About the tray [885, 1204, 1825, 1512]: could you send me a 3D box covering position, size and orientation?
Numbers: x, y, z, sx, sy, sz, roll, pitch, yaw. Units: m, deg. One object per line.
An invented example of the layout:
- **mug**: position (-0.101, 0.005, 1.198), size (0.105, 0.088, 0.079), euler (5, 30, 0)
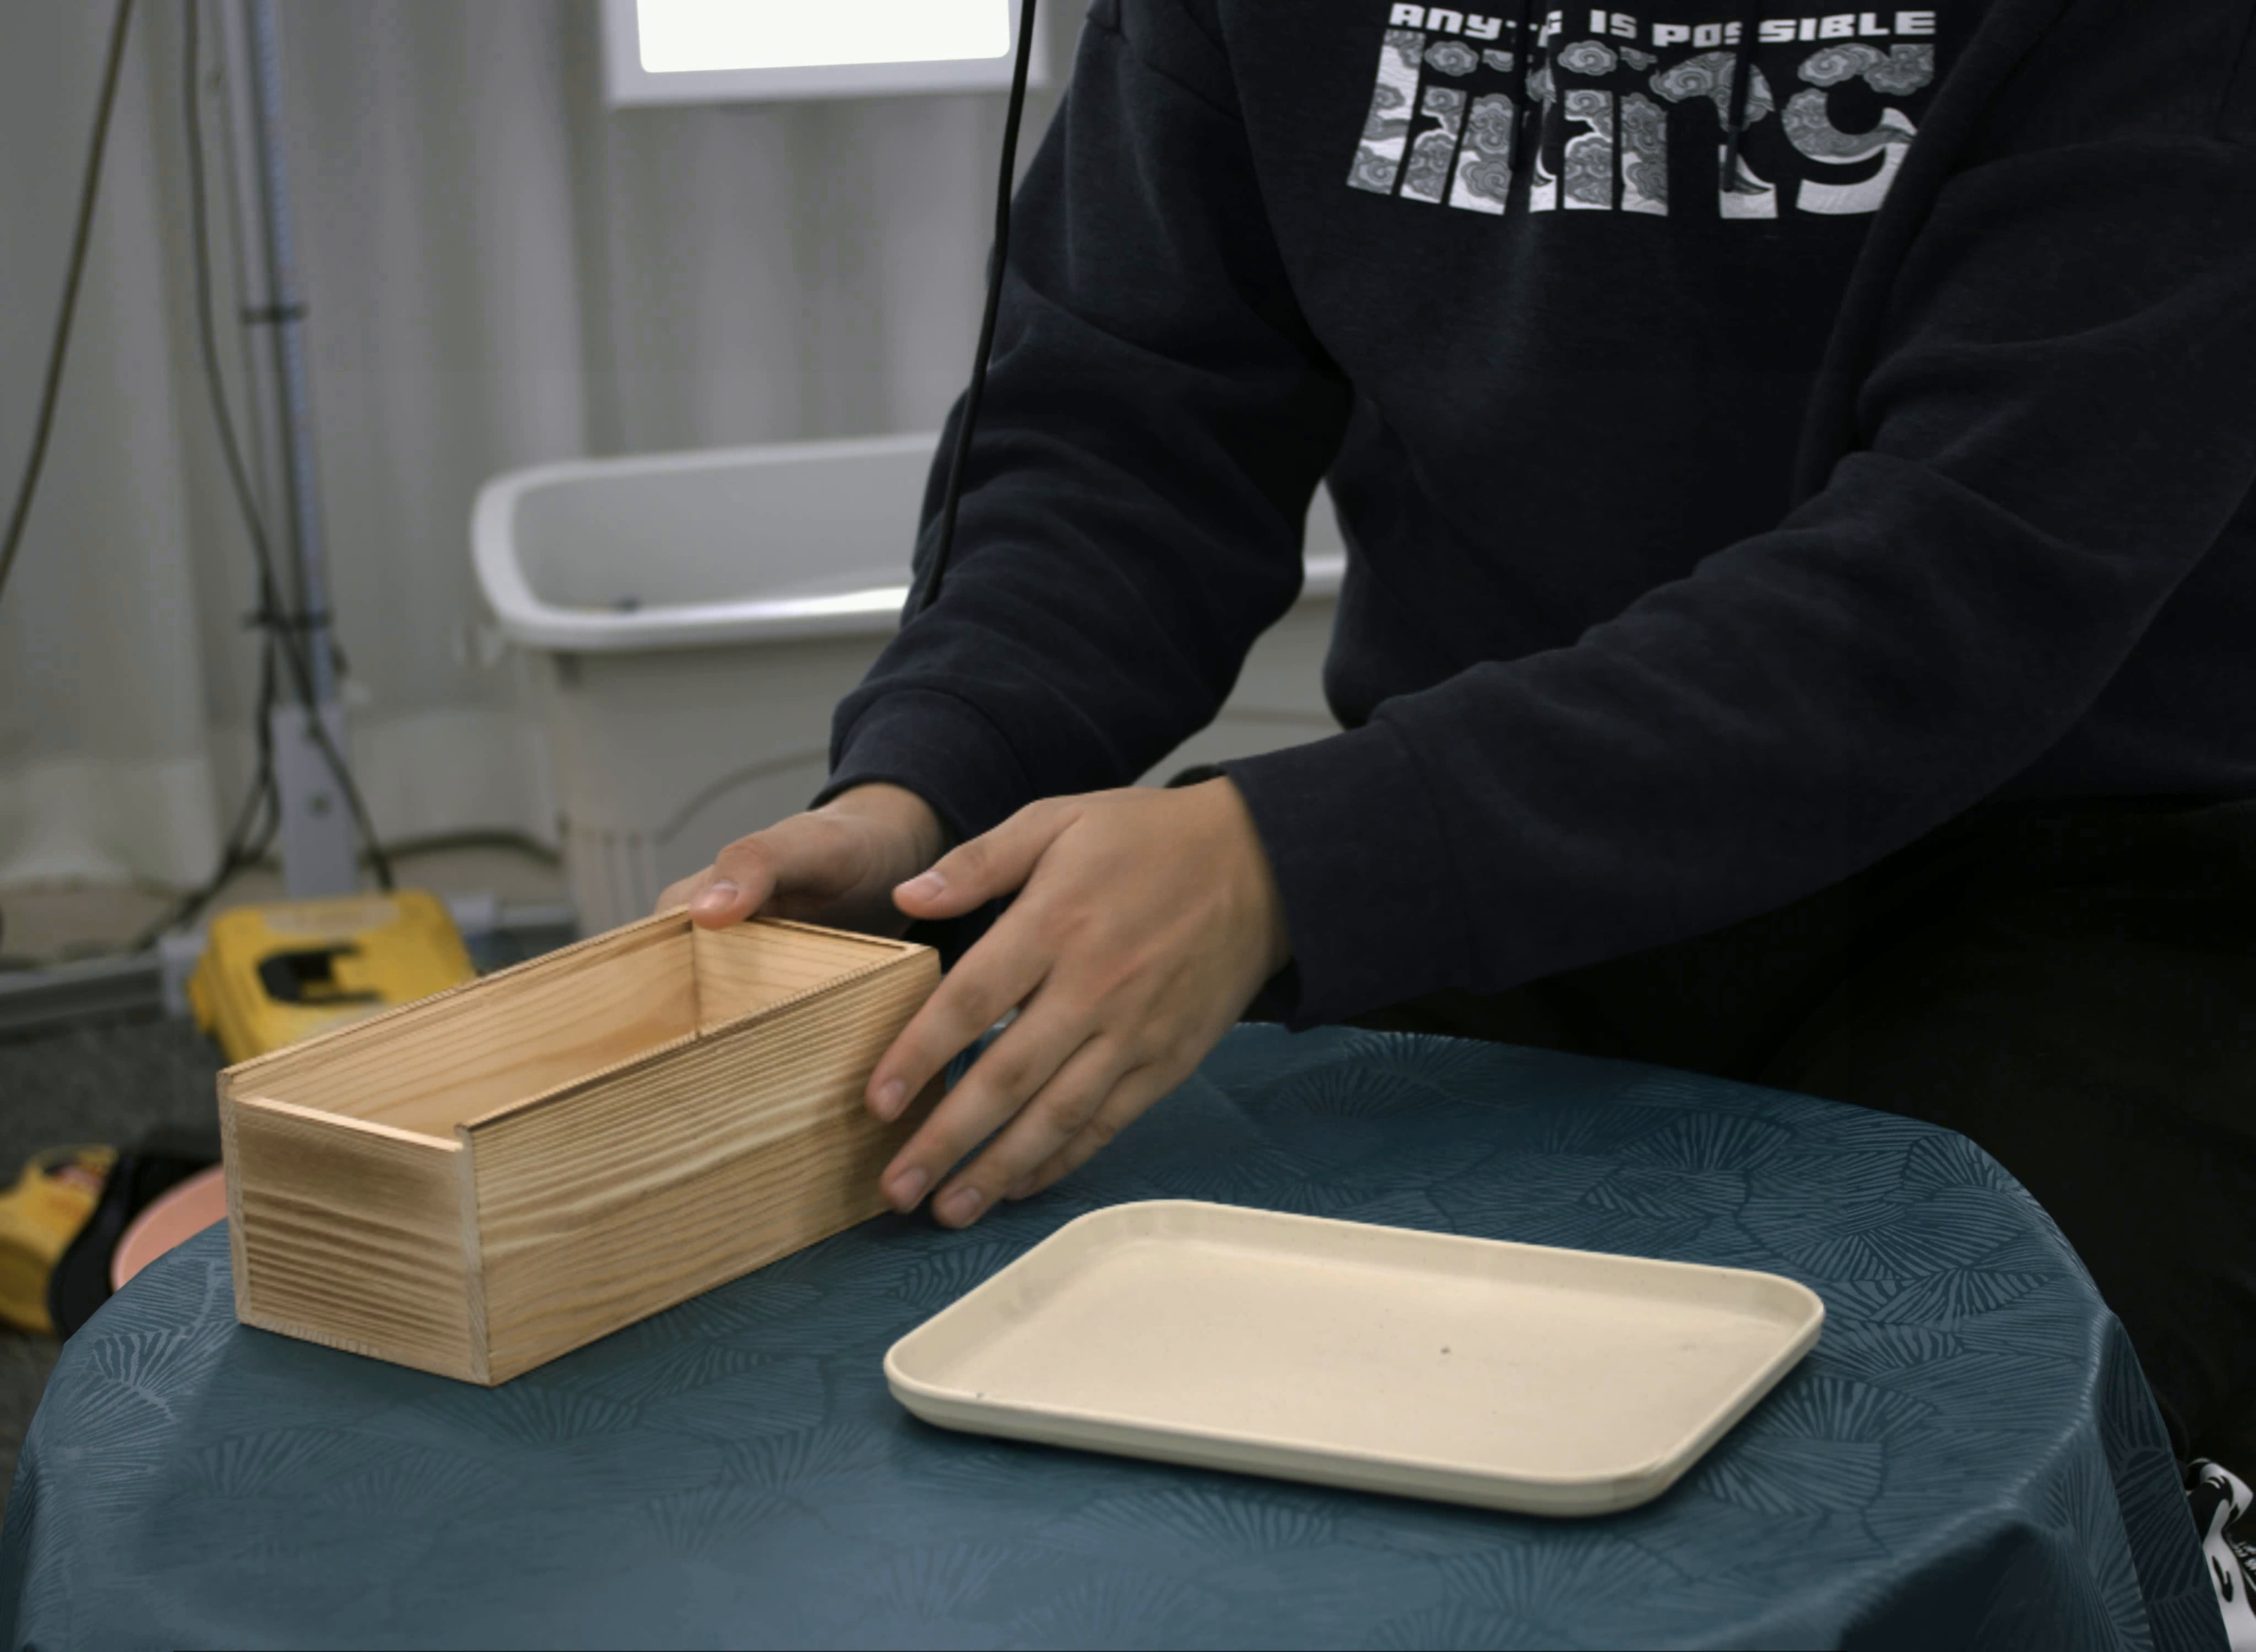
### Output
- **tray**: position (0.065, 0.149, 1.542), size (0.240, 0.017, 0.171), euler (5, 16, 27)

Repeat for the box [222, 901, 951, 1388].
- **box**: position (-0.162, 0.093, 1.672), size (0.108, 0.080, 0.211), euler (9, 18, 36)
